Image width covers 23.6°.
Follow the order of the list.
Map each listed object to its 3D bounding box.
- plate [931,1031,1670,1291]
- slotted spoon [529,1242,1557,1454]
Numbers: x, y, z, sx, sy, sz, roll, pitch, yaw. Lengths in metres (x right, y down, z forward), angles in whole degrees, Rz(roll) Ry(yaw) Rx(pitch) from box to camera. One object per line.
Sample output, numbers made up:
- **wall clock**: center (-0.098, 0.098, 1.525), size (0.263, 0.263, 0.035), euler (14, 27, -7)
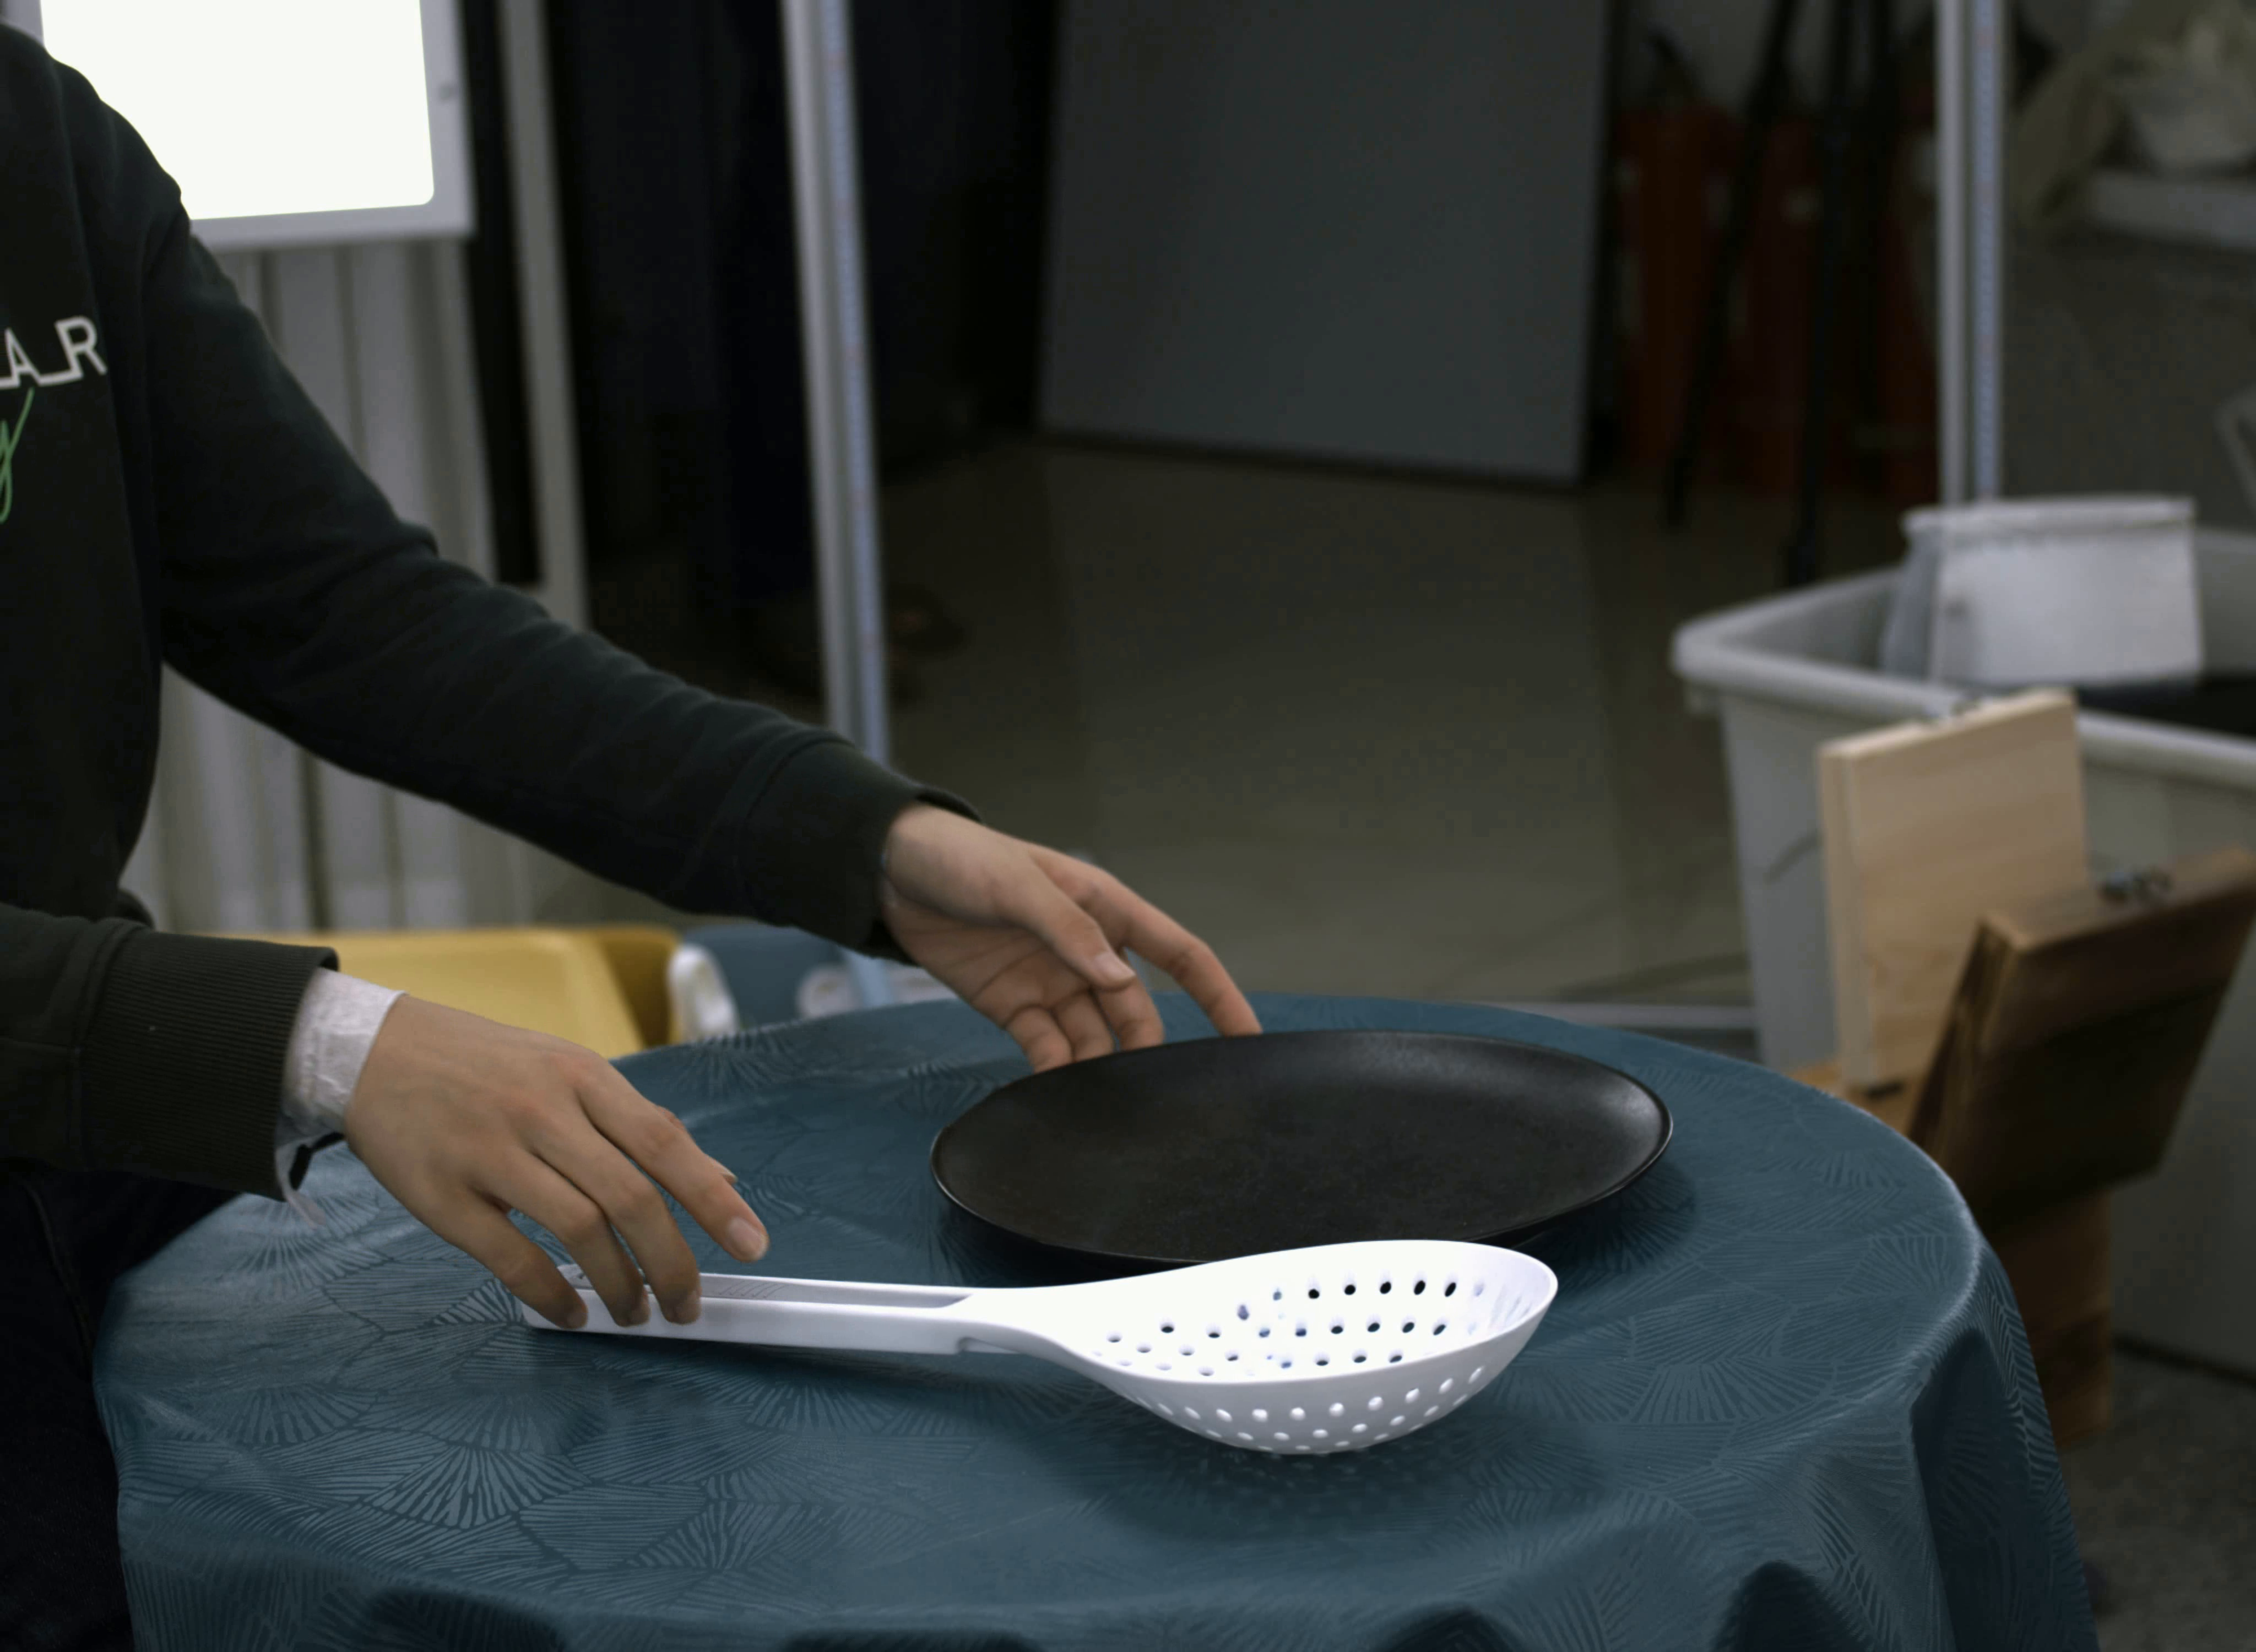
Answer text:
- **plate**: center (0.056, 0.111, 1.748), size (0.241, 0.024, 0.245), euler (-4, 14, 0)
- **slotted spoon**: center (-0.034, 0.146, 1.587), size (0.351, 0.046, 0.134), euler (4, 14, 32)
